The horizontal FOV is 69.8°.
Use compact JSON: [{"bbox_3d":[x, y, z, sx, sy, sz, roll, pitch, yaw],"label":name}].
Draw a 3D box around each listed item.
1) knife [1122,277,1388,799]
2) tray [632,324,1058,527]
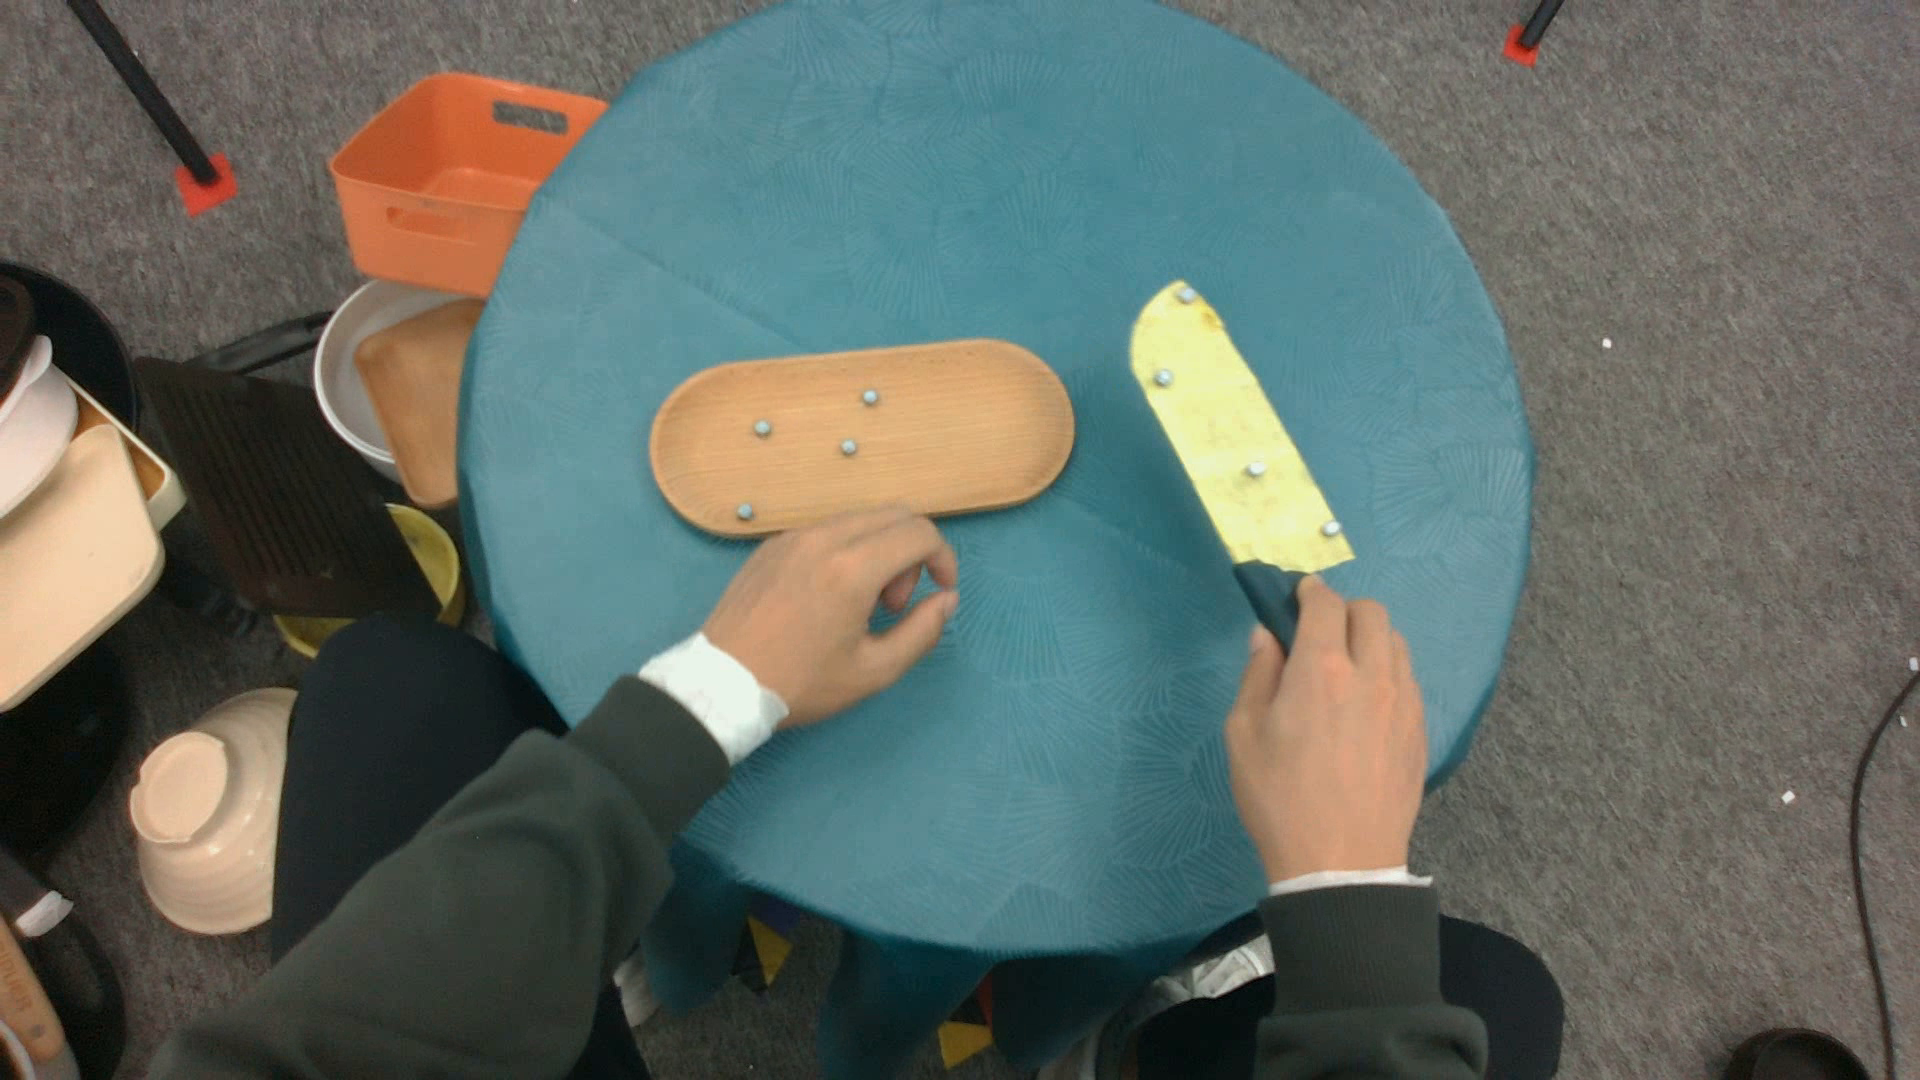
[{"bbox_3d":[0.152,-0.011,0.691,0.081,0.027,0.290,-11,70,-27],"label":"knife"},{"bbox_3d":[-0.060,-0.063,0.750,0.231,0.020,0.102,-7,72,-12],"label":"tray"}]
